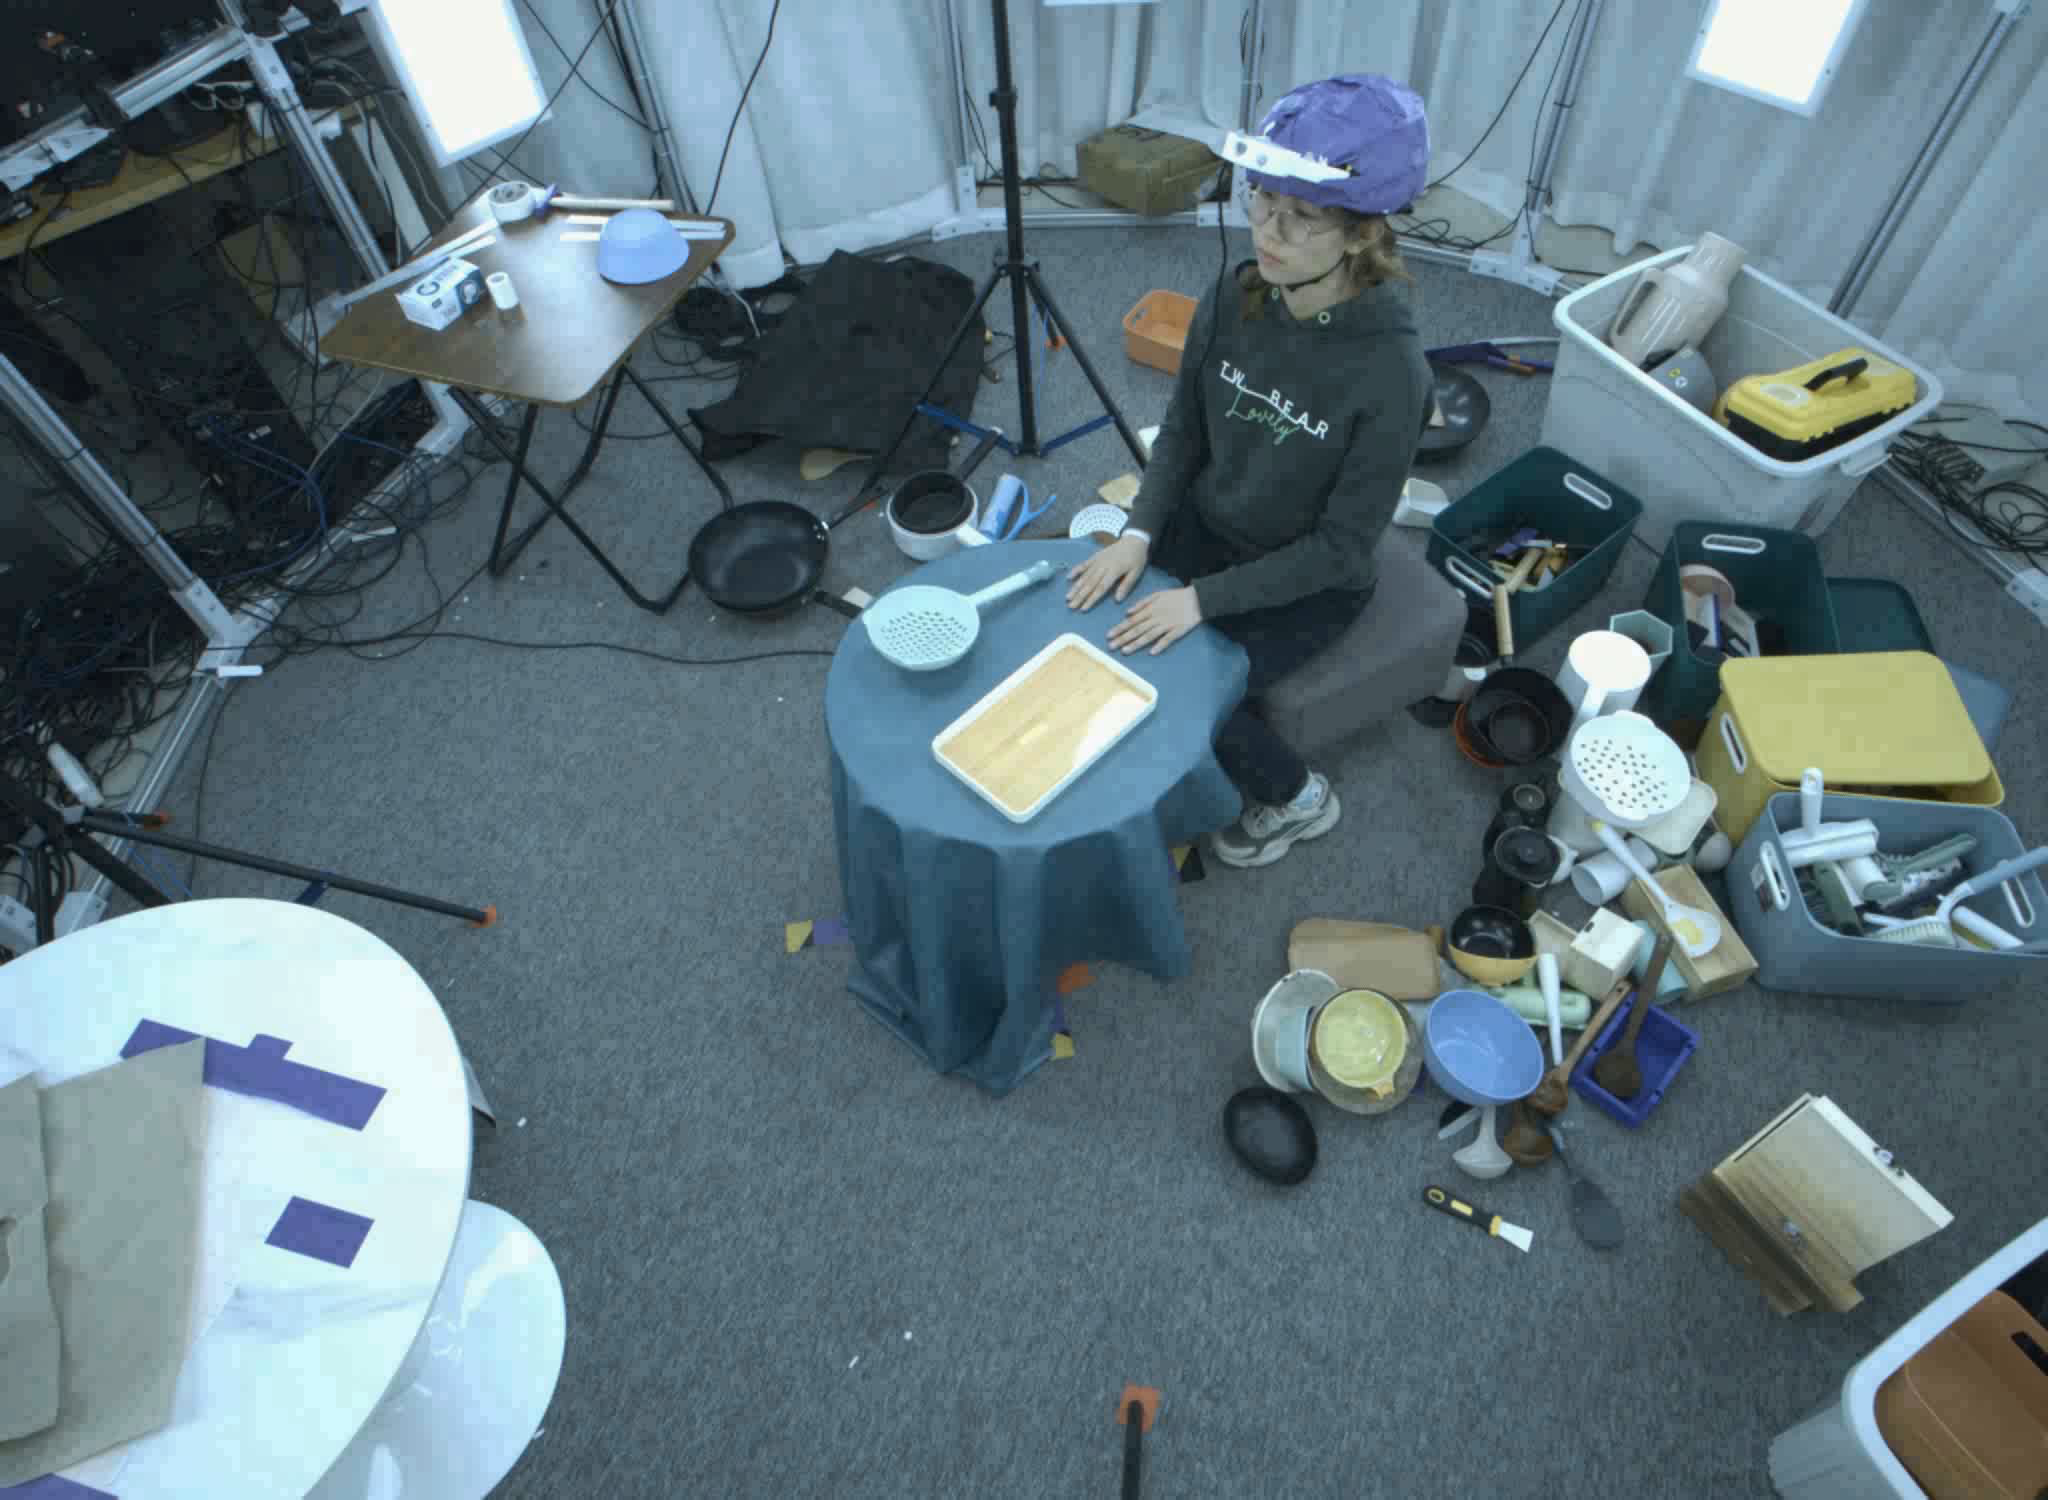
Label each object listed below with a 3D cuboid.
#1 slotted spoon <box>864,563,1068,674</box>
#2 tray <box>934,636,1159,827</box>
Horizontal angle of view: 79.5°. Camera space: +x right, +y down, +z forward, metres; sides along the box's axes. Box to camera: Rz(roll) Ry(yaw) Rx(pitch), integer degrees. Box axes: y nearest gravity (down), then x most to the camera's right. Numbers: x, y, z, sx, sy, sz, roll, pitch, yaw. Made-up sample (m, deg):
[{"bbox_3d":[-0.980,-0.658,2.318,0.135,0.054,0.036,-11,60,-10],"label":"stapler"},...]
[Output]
[{"bbox_3d":[-0.076,-0.224,1.918,0.361,0.076,0.166,-34,61,-20],"label":"slotted spoon"},{"bbox_3d":[0.035,-0.033,1.804,0.188,0.028,0.302,38,64,25],"label":"tray"}]
